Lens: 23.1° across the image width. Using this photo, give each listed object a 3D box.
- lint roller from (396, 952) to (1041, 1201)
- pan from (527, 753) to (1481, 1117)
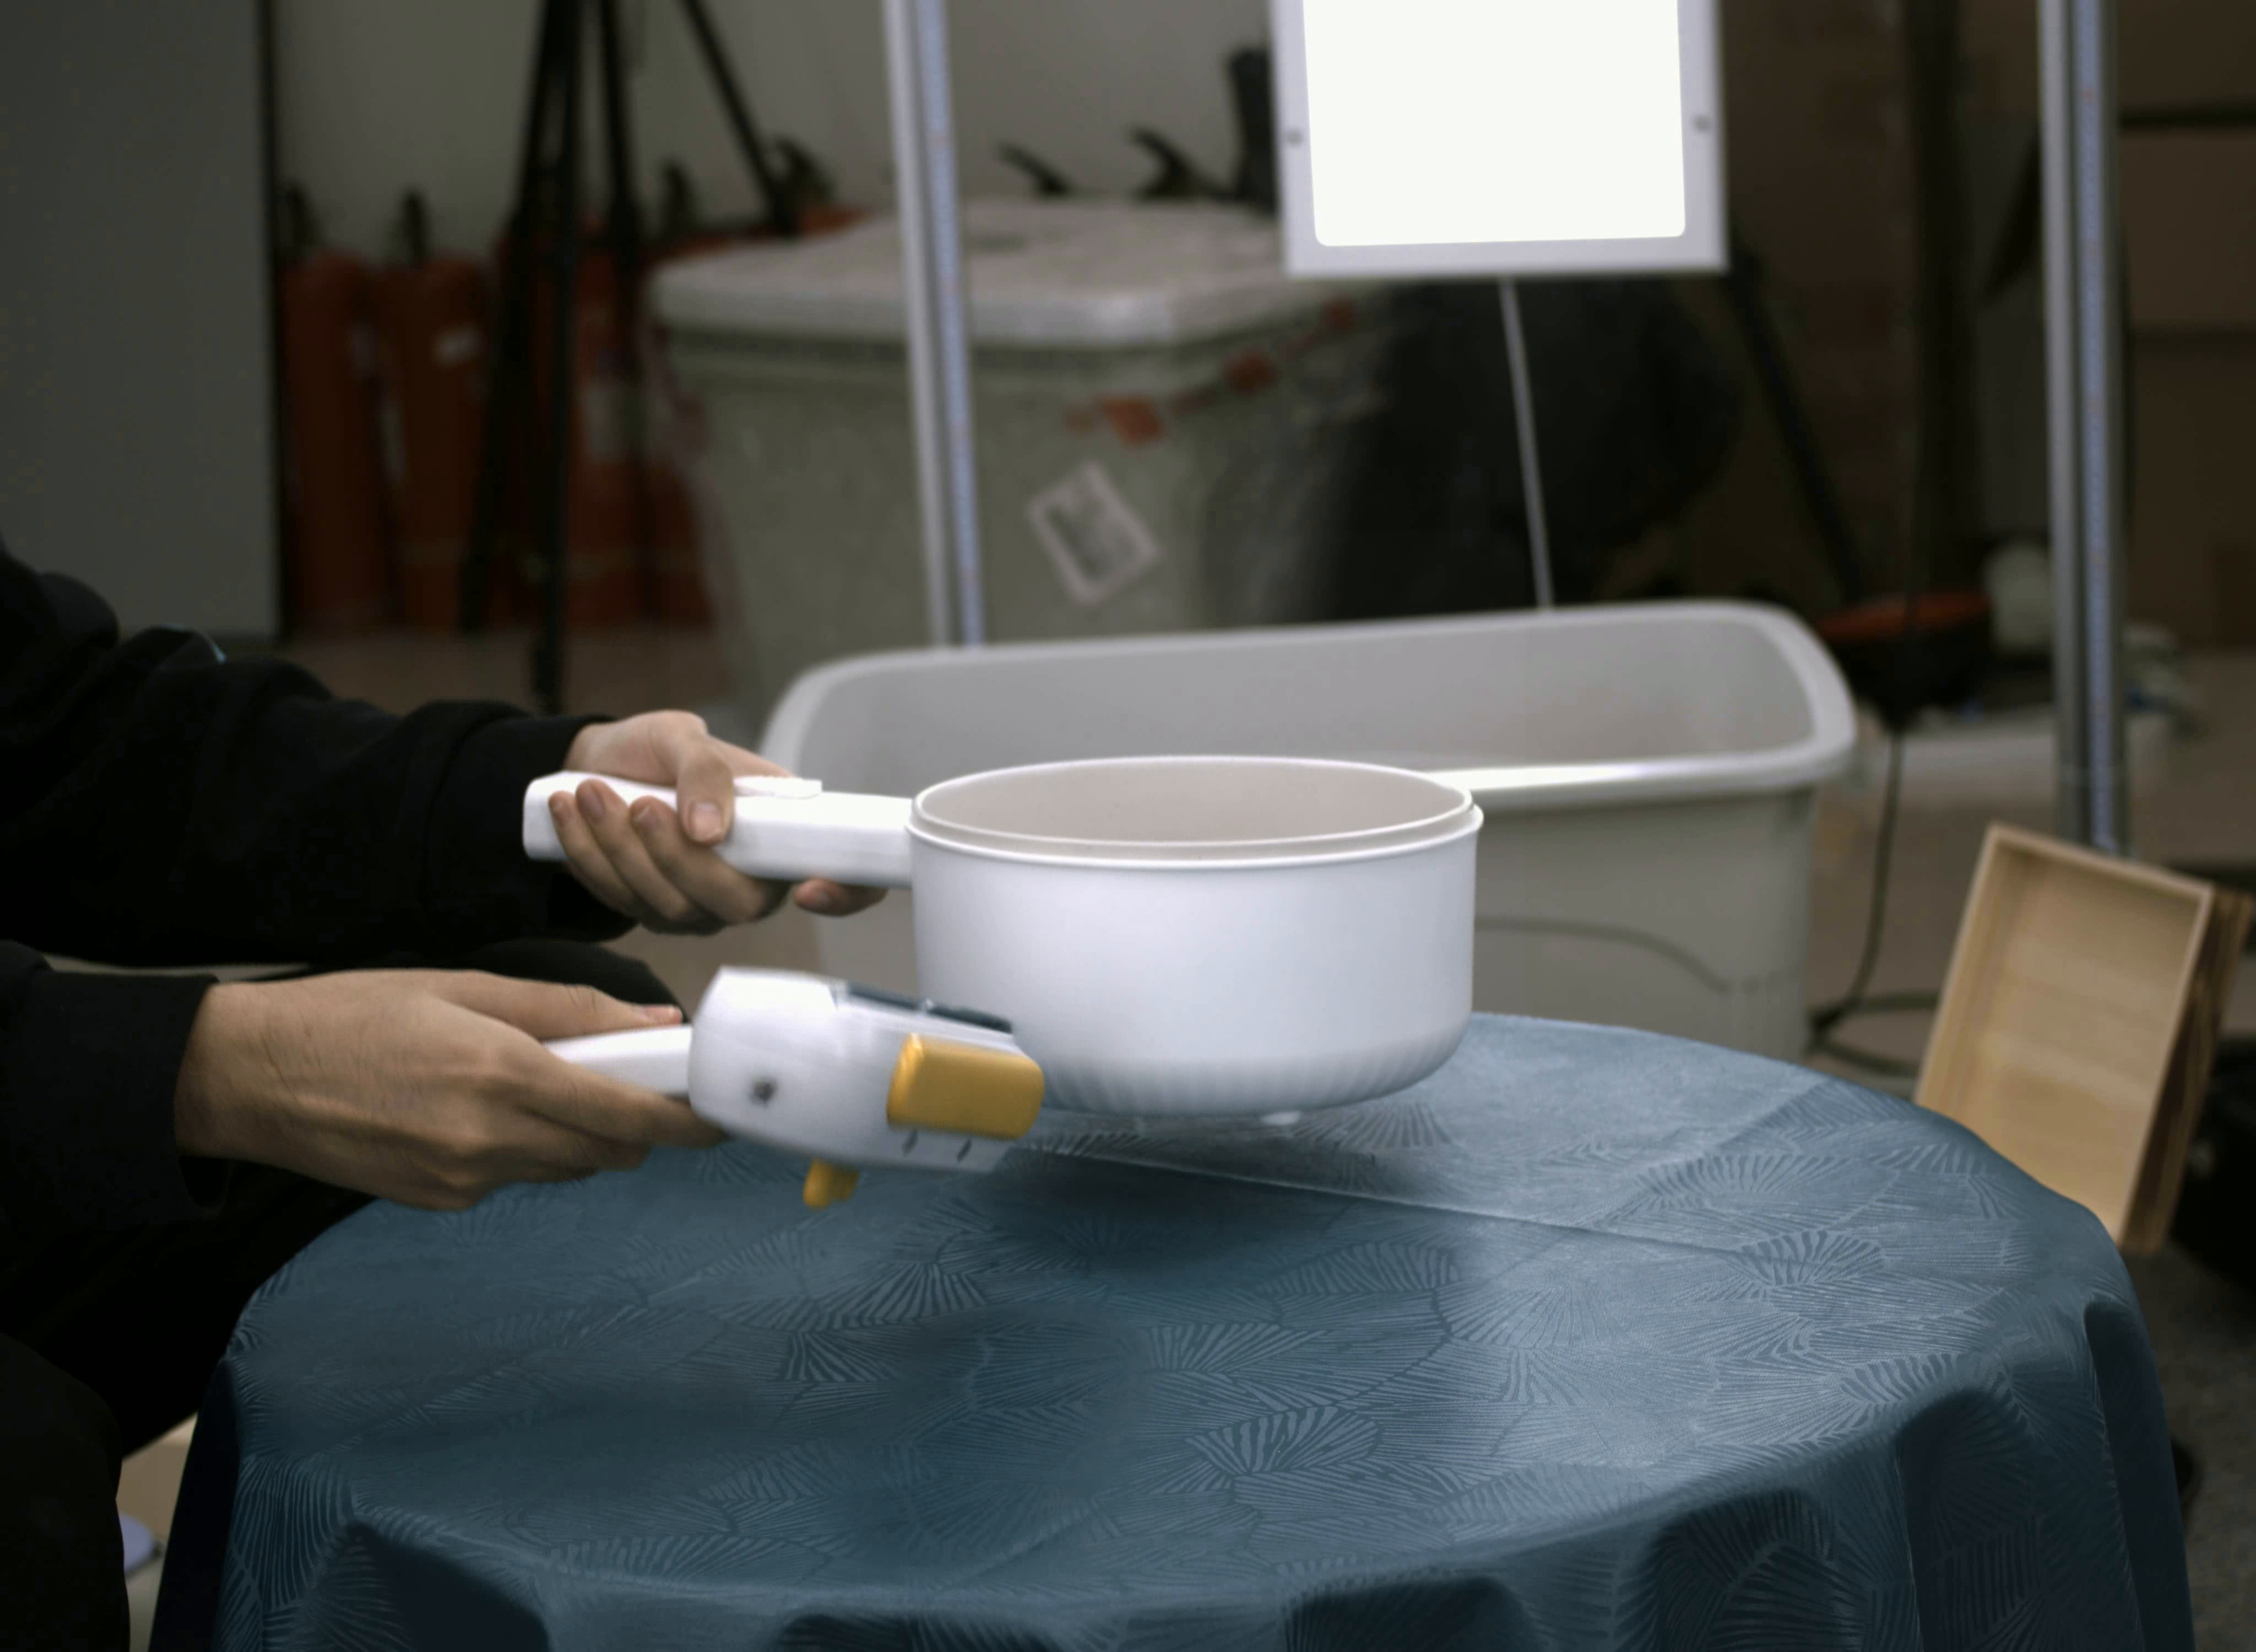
[{"bbox_3d":[-0.140,0.075,1.734,0.195,0.074,0.189,6,-1,21],"label":"lint roller"},{"bbox_3d":[-0.048,0.035,1.941,0.360,0.102,0.197,2,9,24],"label":"pan"}]
